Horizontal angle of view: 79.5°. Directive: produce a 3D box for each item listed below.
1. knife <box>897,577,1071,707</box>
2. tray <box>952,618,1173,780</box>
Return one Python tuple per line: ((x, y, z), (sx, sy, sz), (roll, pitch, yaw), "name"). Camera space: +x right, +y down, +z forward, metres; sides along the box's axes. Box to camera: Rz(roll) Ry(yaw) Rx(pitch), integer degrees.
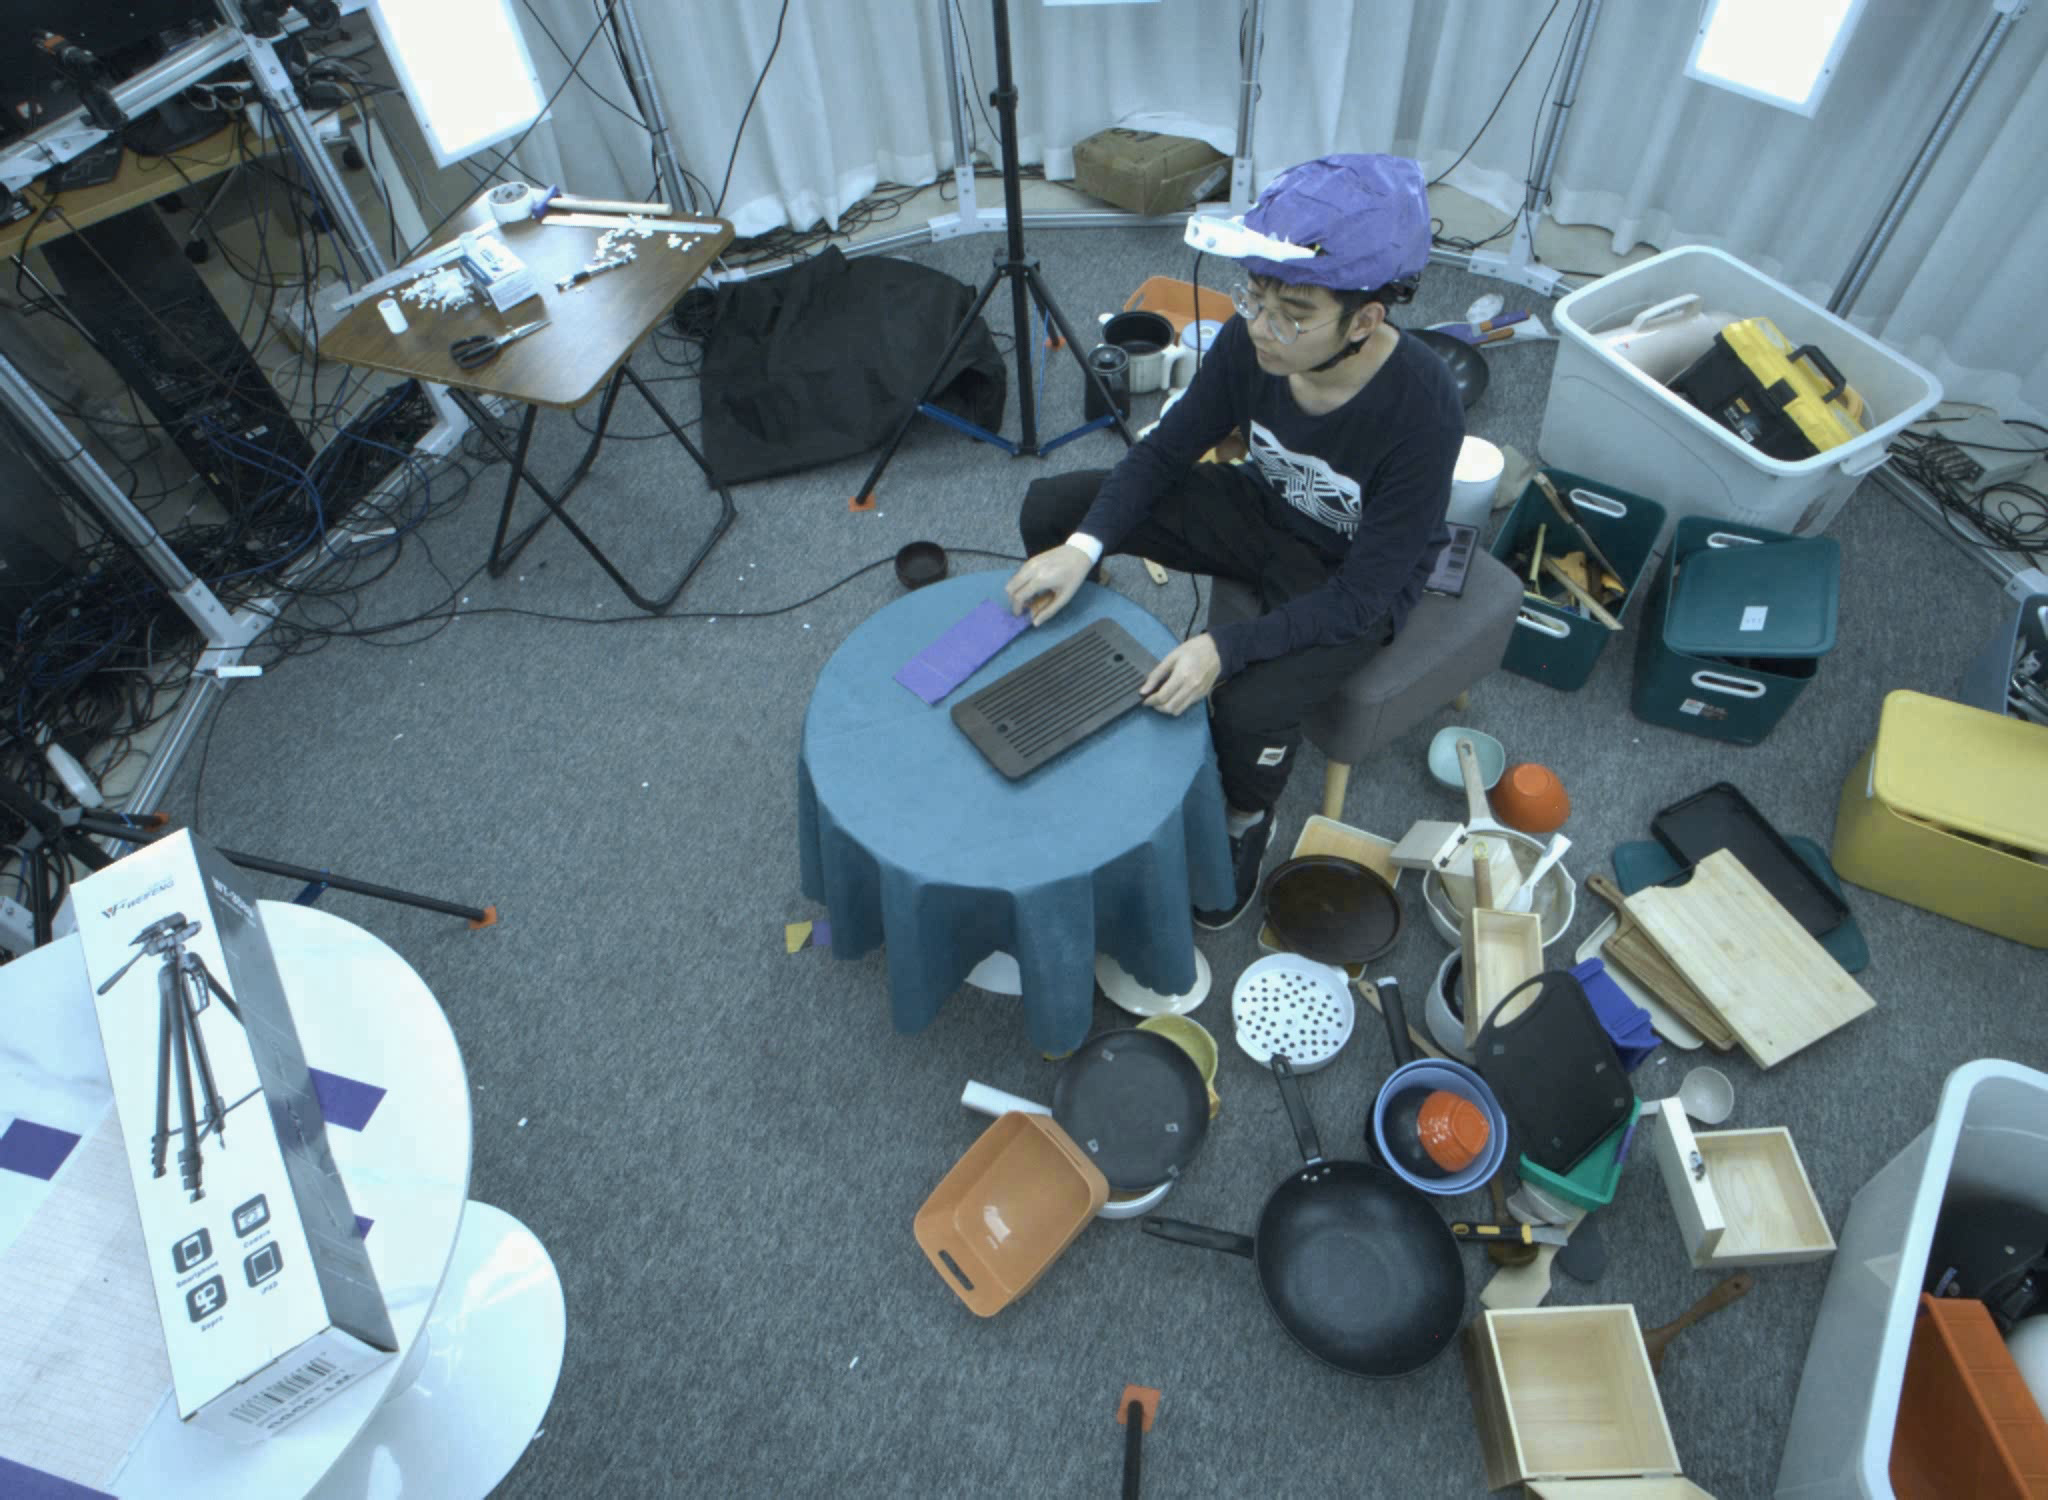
((-0.063, -0.187, 1.914), (0.102, 0.032, 0.317), (37, 63, 24), "knife")
((0.059, -0.079, 1.835), (0.308, 0.019, 0.167), (-32, 57, -20), "tray")
